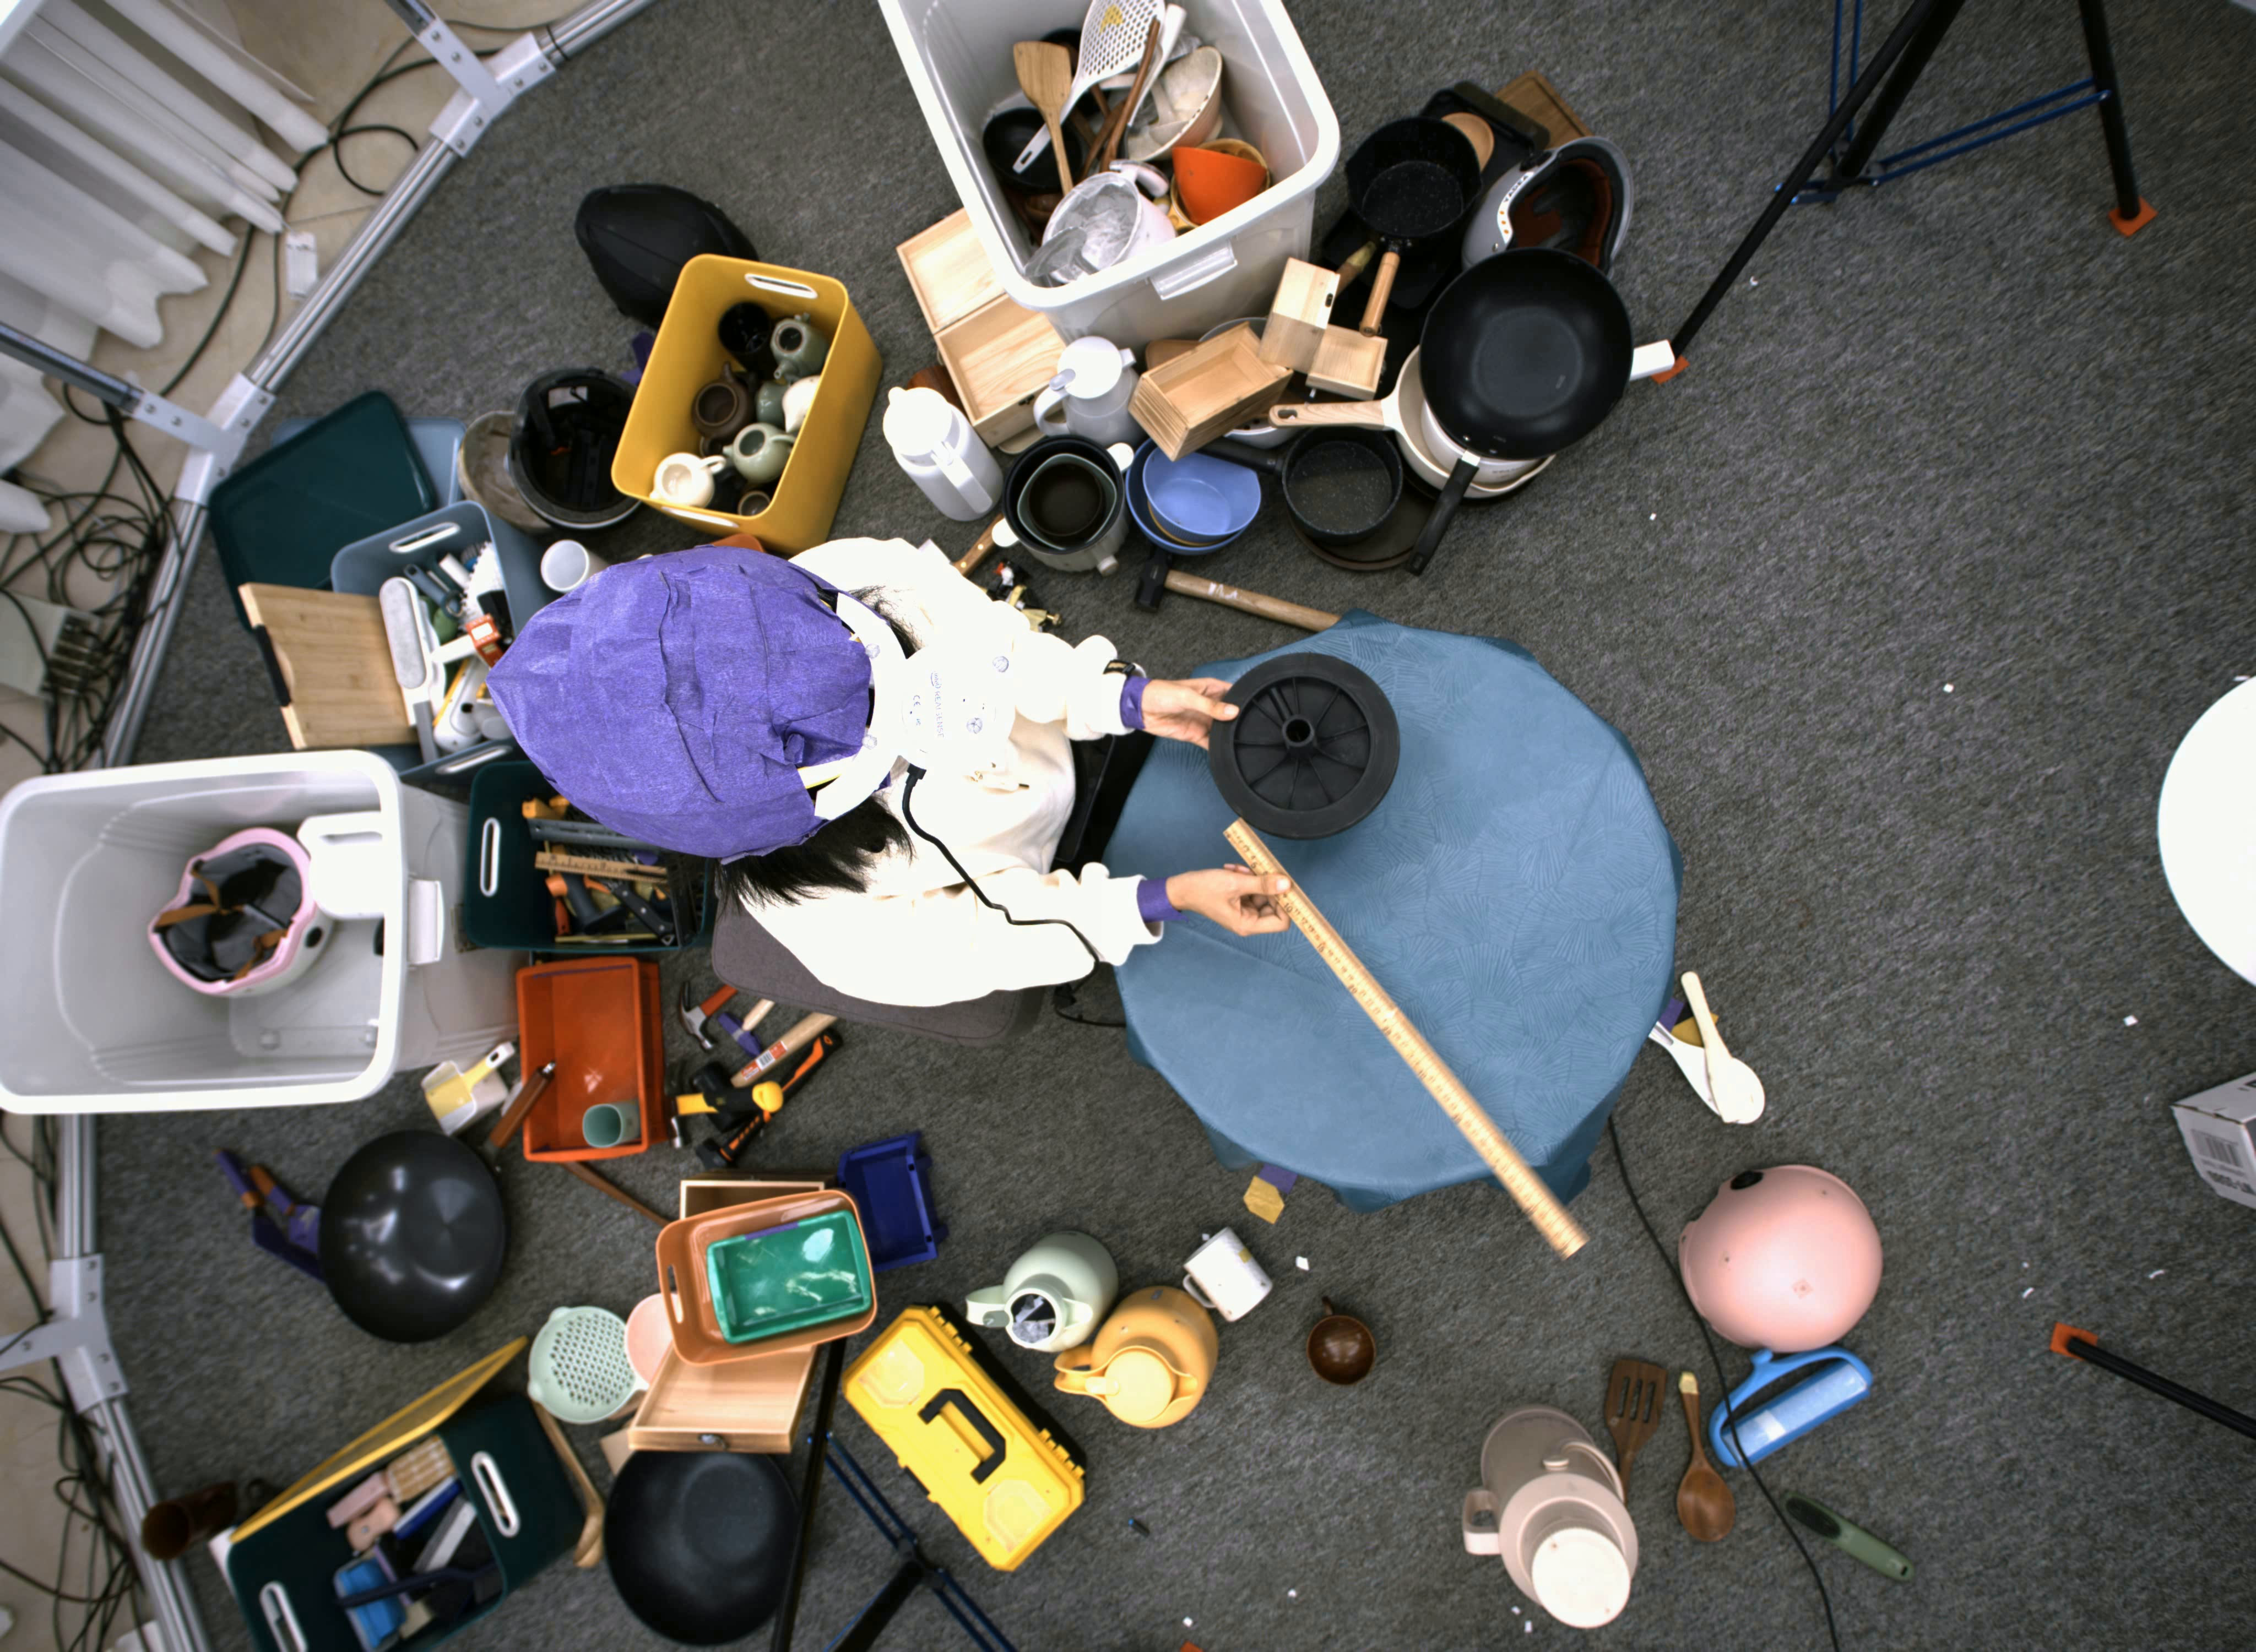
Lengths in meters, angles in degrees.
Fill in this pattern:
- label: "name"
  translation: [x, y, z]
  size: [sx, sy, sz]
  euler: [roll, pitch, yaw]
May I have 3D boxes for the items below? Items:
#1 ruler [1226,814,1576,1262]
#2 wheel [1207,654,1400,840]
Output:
- label: "ruler"
  translation: [0.243, 0.184, 1.283]
  size: [0.027, 0.006, 0.495]
  euler: [-42, 71, 17]
- label: "wheel"
  translation: [0.168, -0.084, 1.339]
  size: [0.189, 0.079, 0.187]
  euler: [41, 92, 15]
